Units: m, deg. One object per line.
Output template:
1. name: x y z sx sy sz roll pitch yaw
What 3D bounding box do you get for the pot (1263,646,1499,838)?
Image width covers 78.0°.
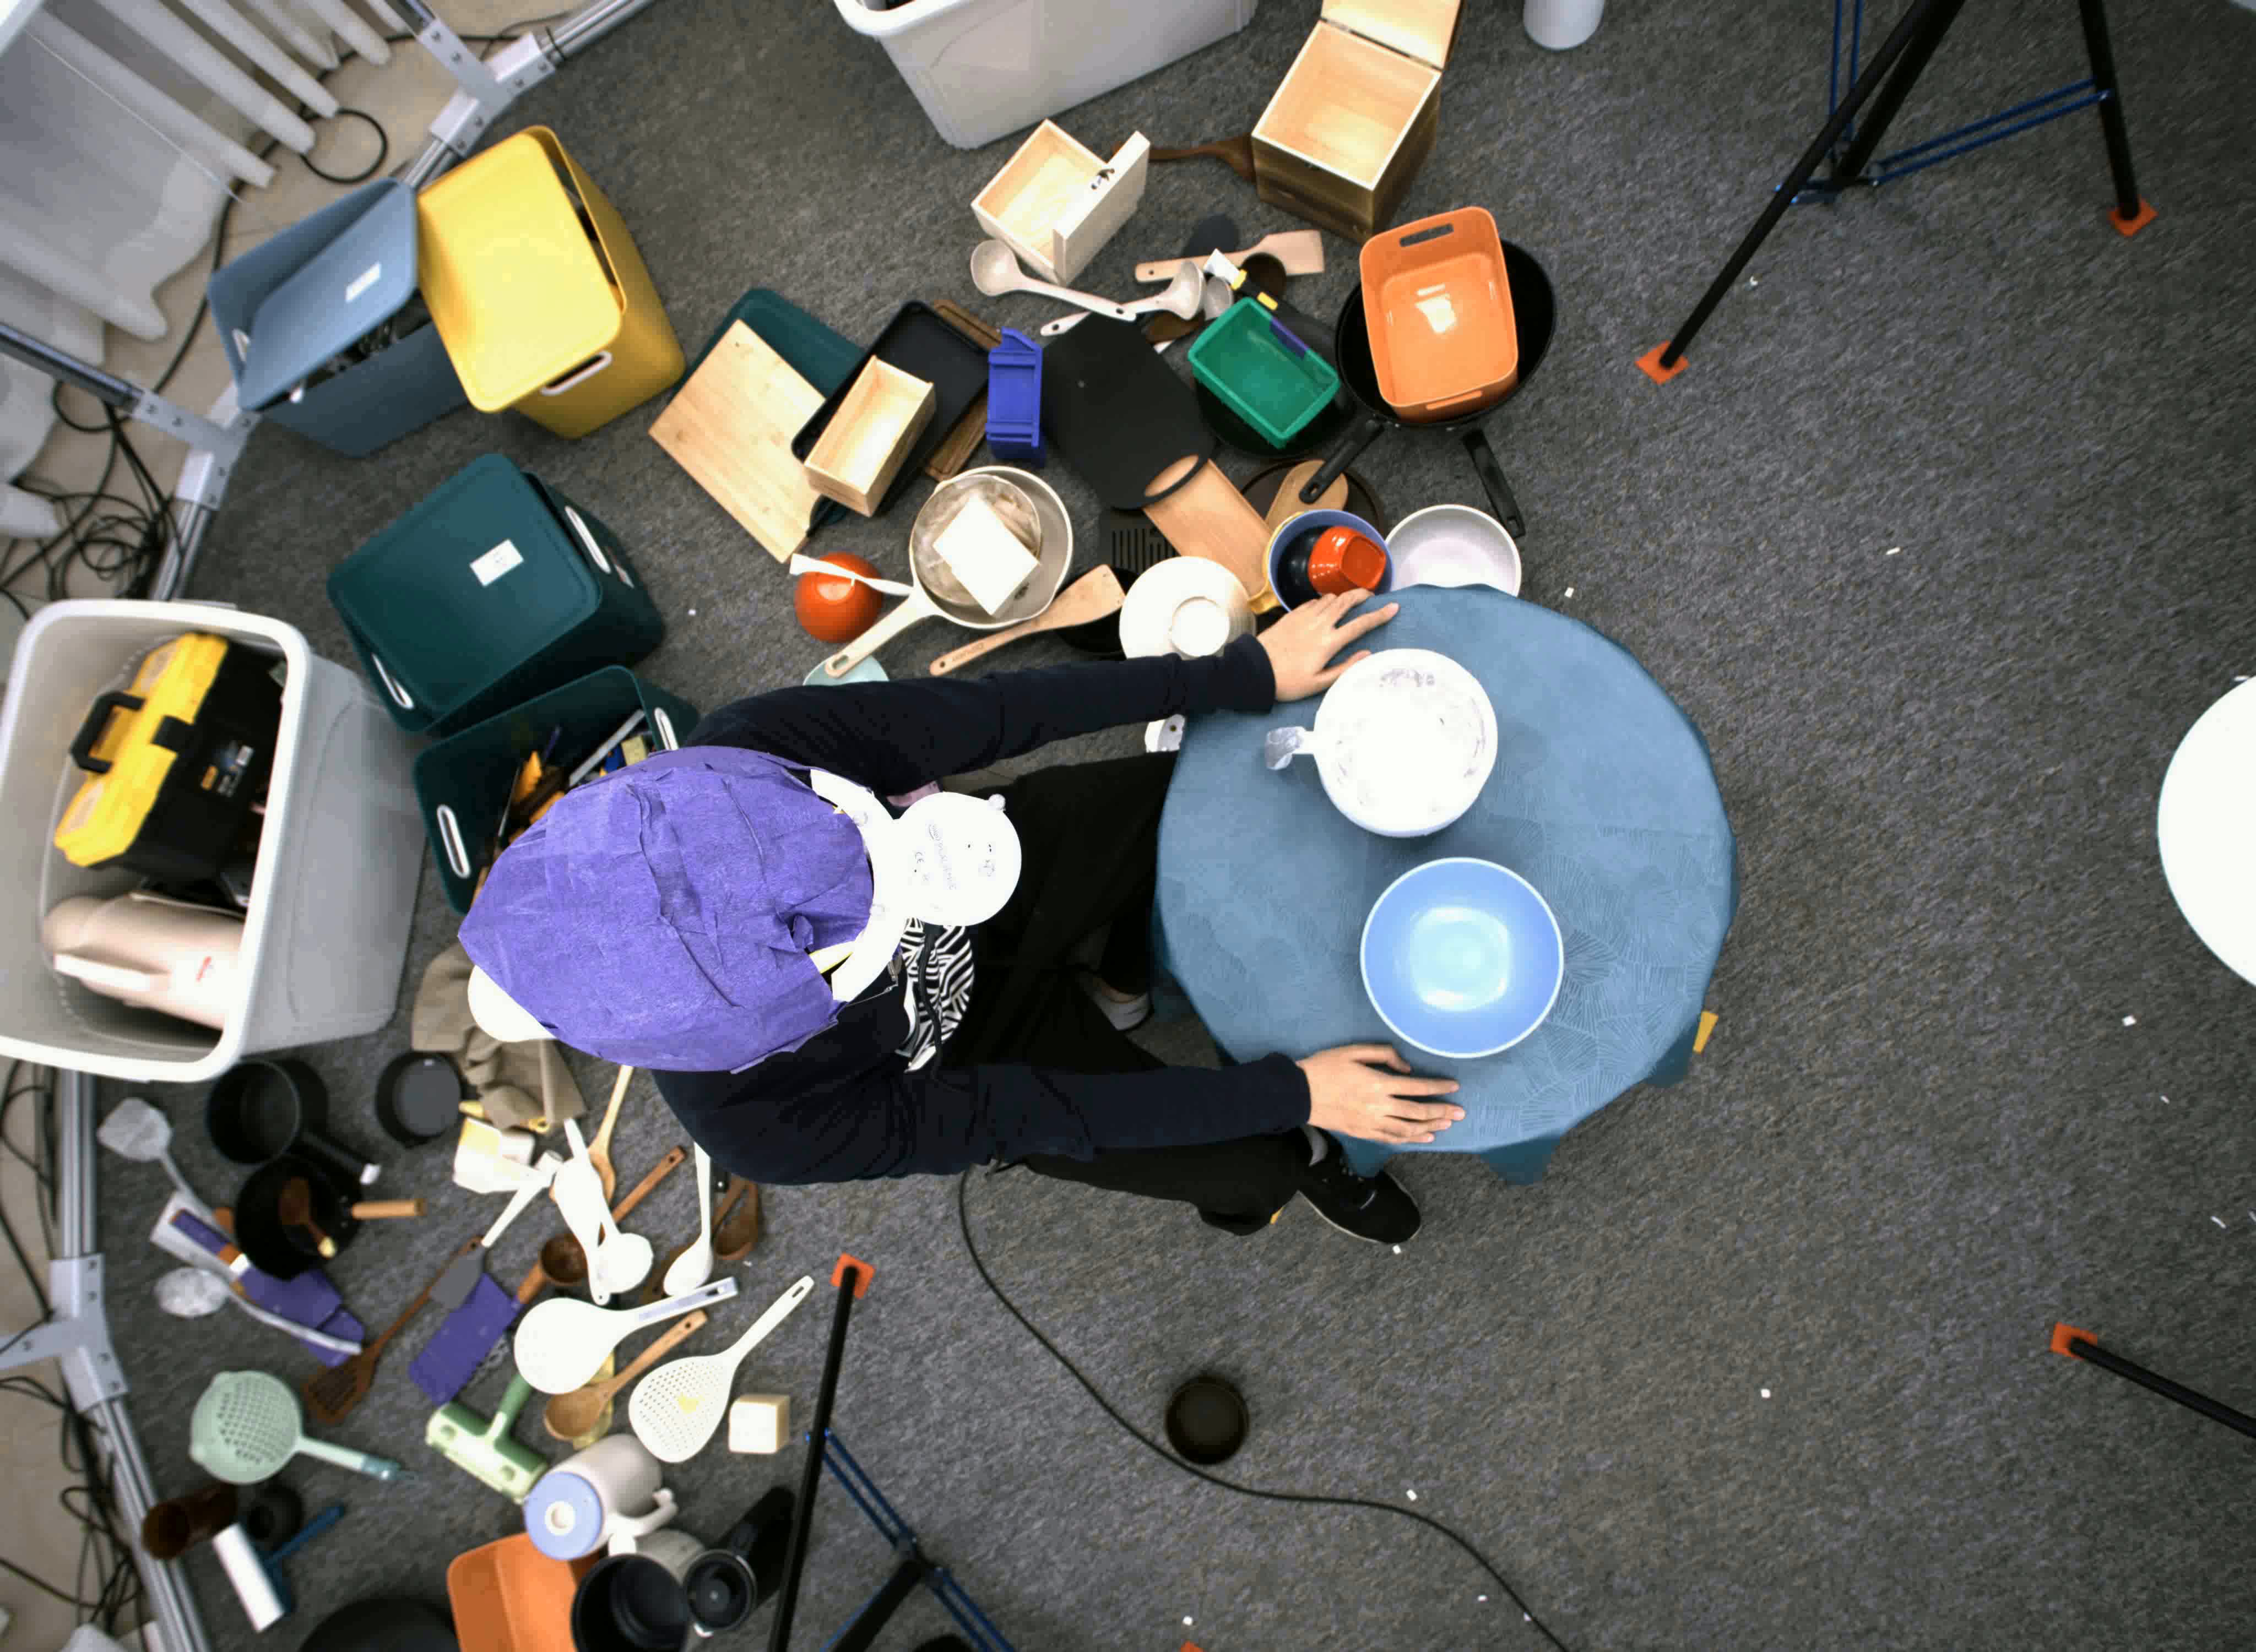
1. pot: 0.252 -0.081 1.402 0.234 0.137 0.177 -1 83 10

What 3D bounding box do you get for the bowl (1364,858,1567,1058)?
1. bowl: 0.334 0.130 1.393 0.197 0.095 0.196 0 88 6
